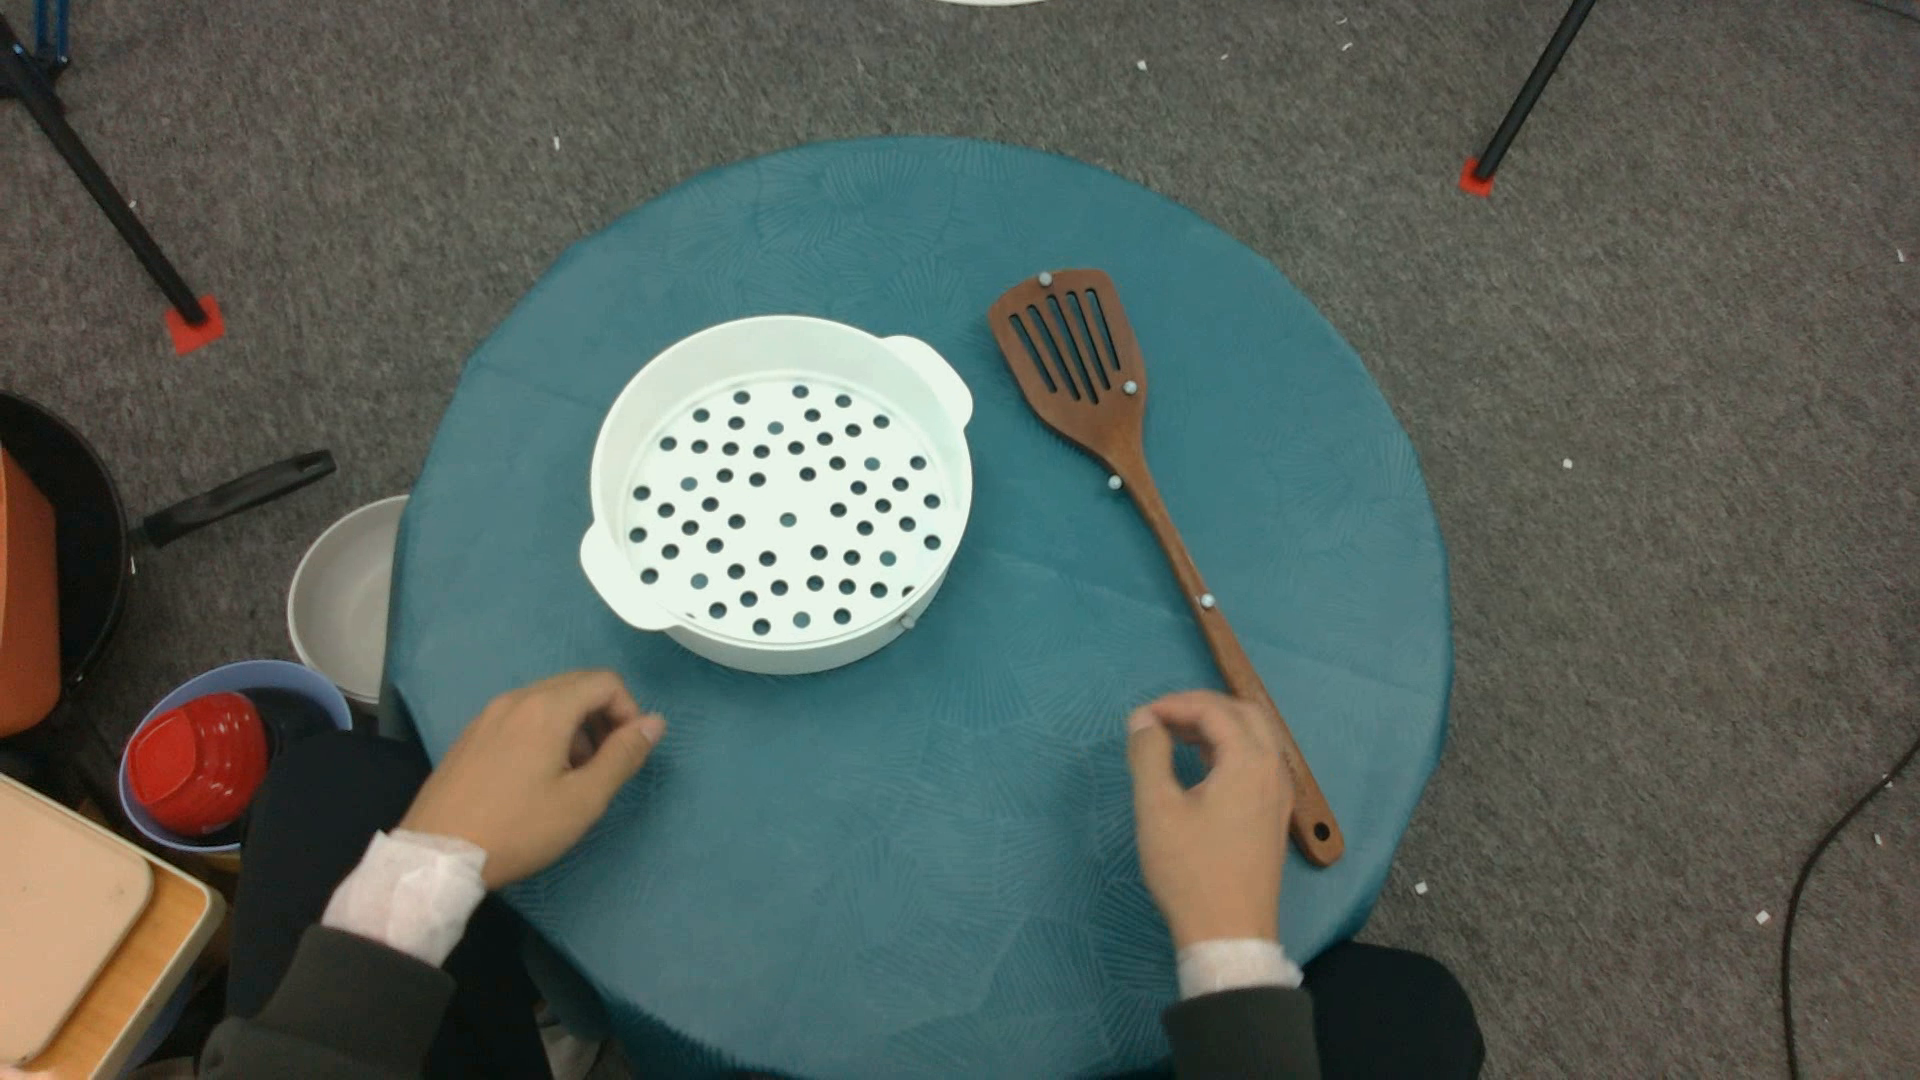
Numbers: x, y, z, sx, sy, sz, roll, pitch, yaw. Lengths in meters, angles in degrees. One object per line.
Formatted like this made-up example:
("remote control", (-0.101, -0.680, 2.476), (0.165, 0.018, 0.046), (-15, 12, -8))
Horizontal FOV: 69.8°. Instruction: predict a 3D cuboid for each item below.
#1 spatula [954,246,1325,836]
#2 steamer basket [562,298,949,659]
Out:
("spatula", (0.110, -0.008, 0.798), (0.086, 0.023, 0.386), (-22, 71, -13))
("steamer basket", (-0.107, -0.033, 0.762), (0.231, 0.069, 0.202), (-39, 73, -17))
